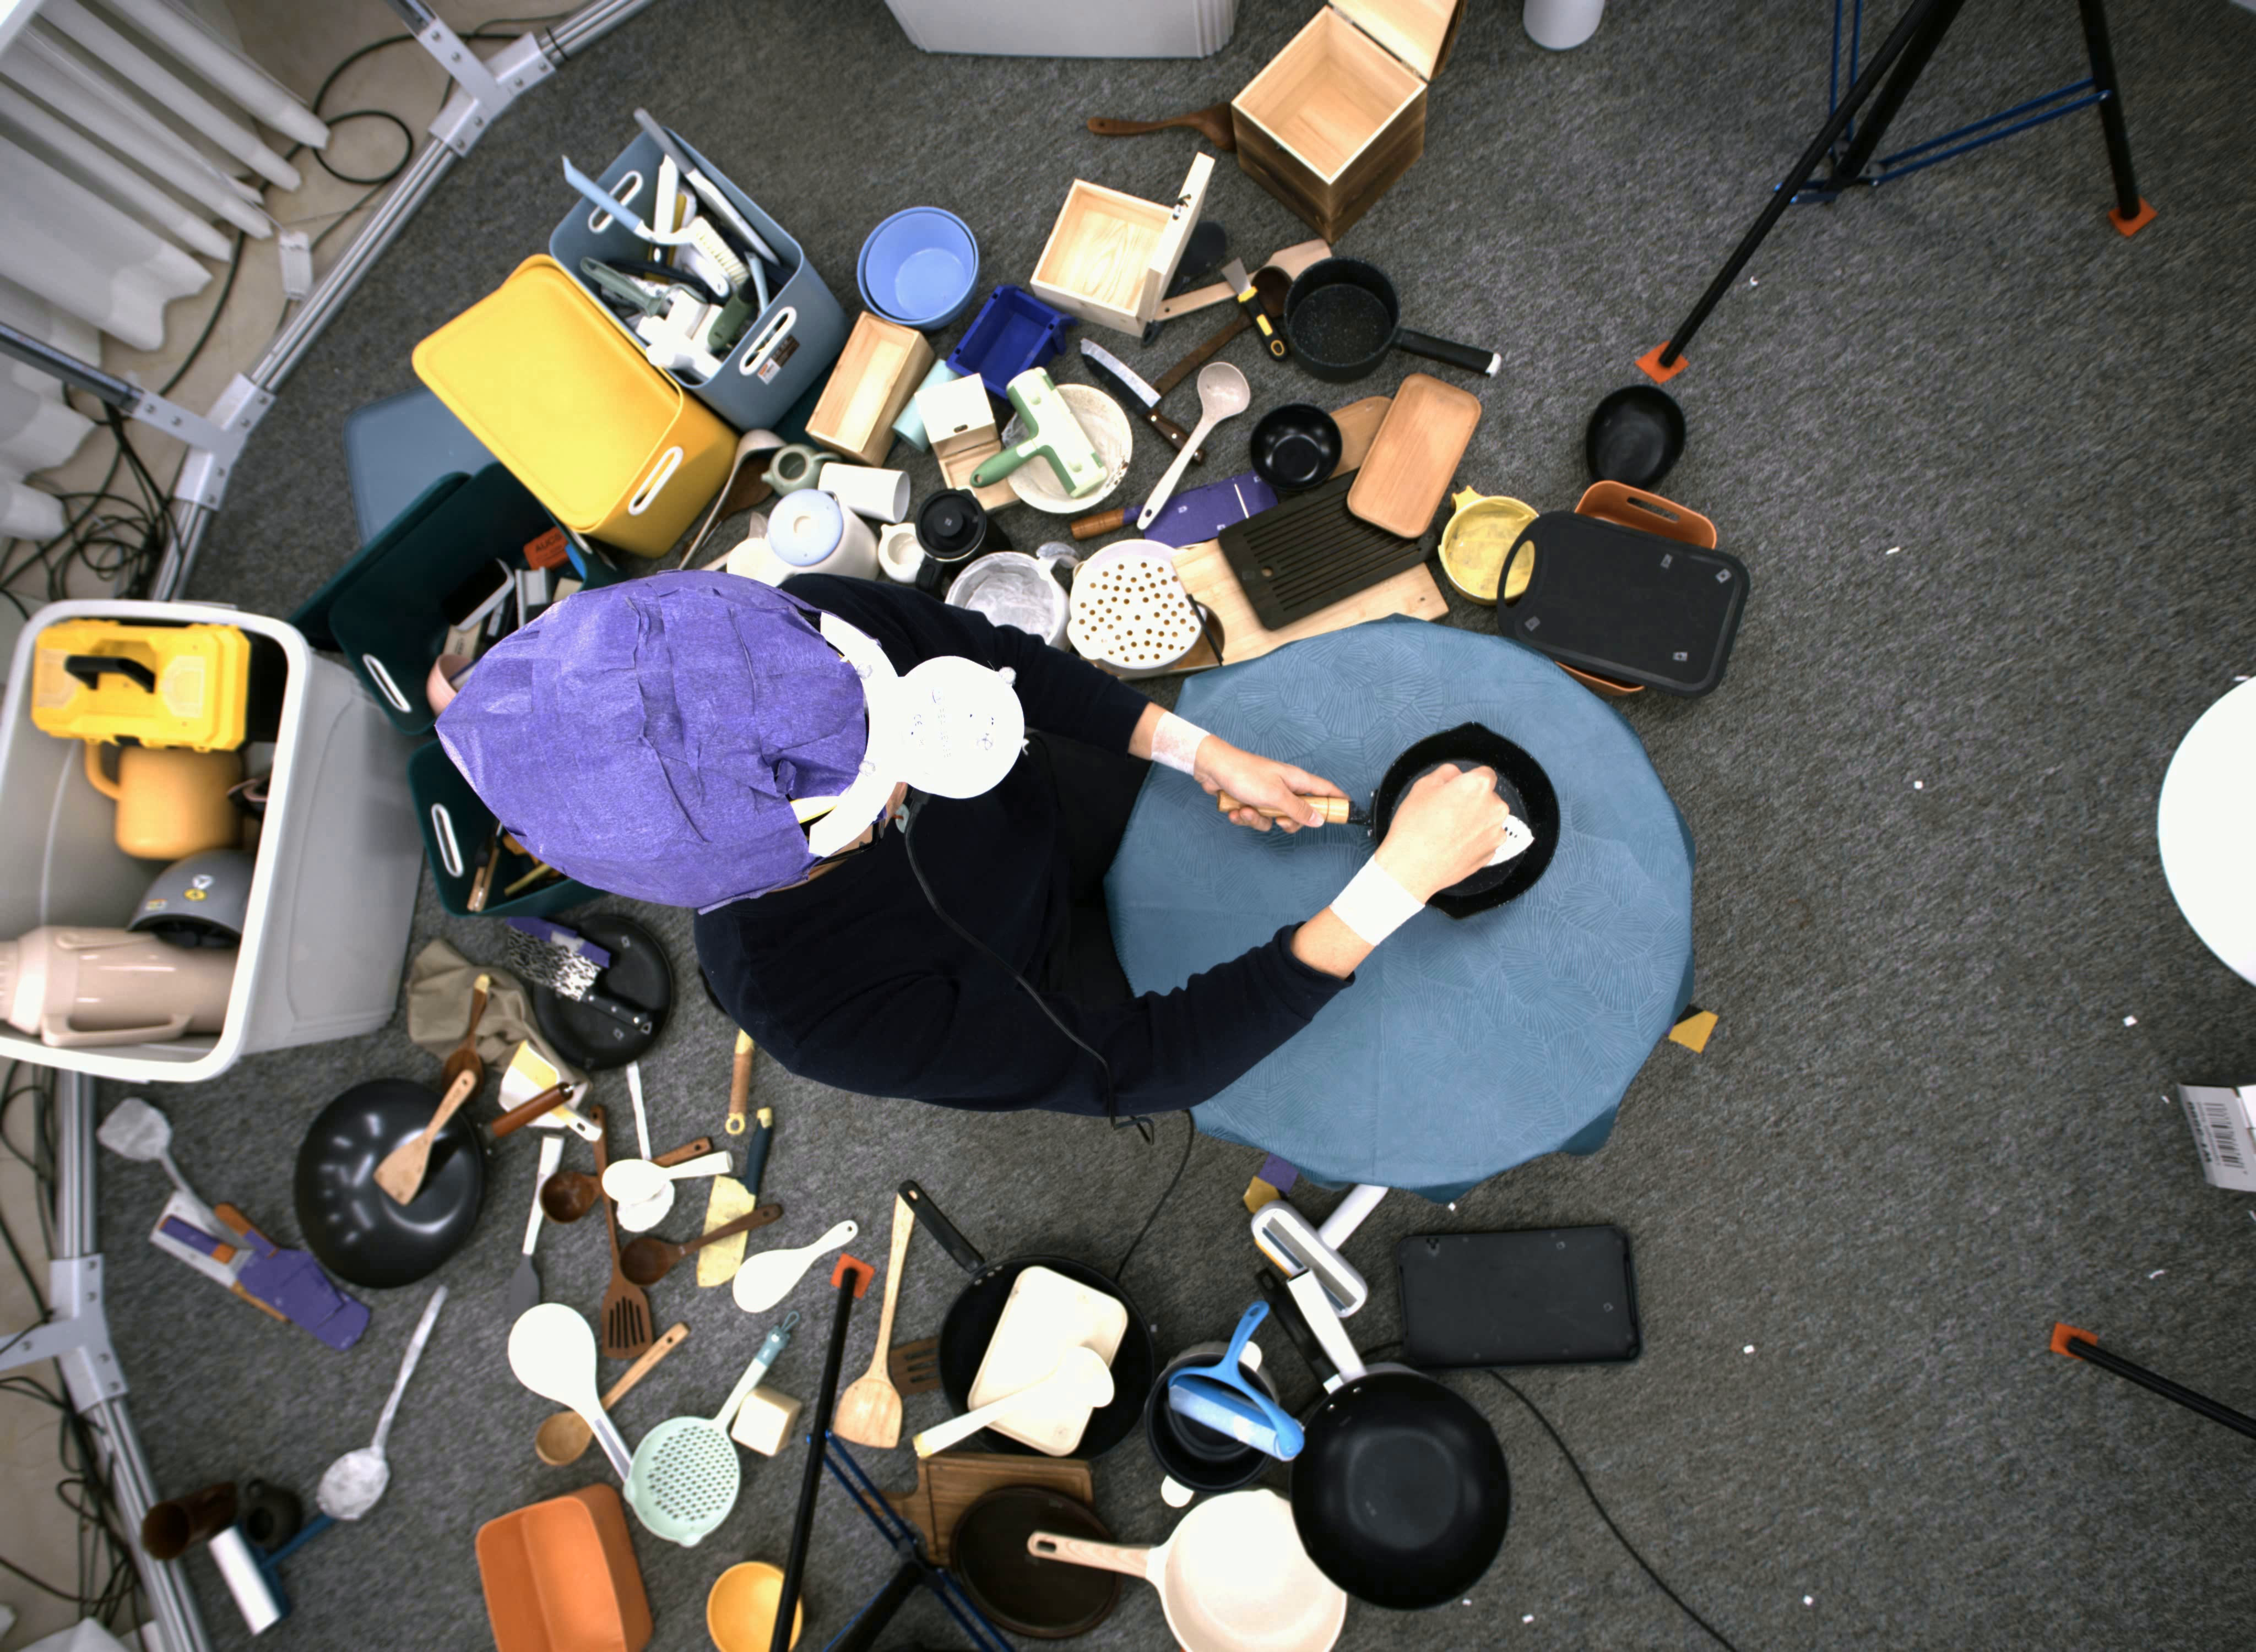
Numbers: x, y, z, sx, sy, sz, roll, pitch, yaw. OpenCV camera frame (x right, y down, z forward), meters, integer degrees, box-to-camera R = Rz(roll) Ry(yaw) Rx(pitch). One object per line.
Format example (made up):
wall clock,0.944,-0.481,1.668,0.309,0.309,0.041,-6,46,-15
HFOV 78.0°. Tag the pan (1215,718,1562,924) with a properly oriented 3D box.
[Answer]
pan,0.262,-0.009,1.408,0.344,0.108,0.207,4,88,8

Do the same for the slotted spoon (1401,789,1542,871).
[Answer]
slotted spoon,0.311,-0.005,1.256,0.137,0.350,0.049,0,76,15
